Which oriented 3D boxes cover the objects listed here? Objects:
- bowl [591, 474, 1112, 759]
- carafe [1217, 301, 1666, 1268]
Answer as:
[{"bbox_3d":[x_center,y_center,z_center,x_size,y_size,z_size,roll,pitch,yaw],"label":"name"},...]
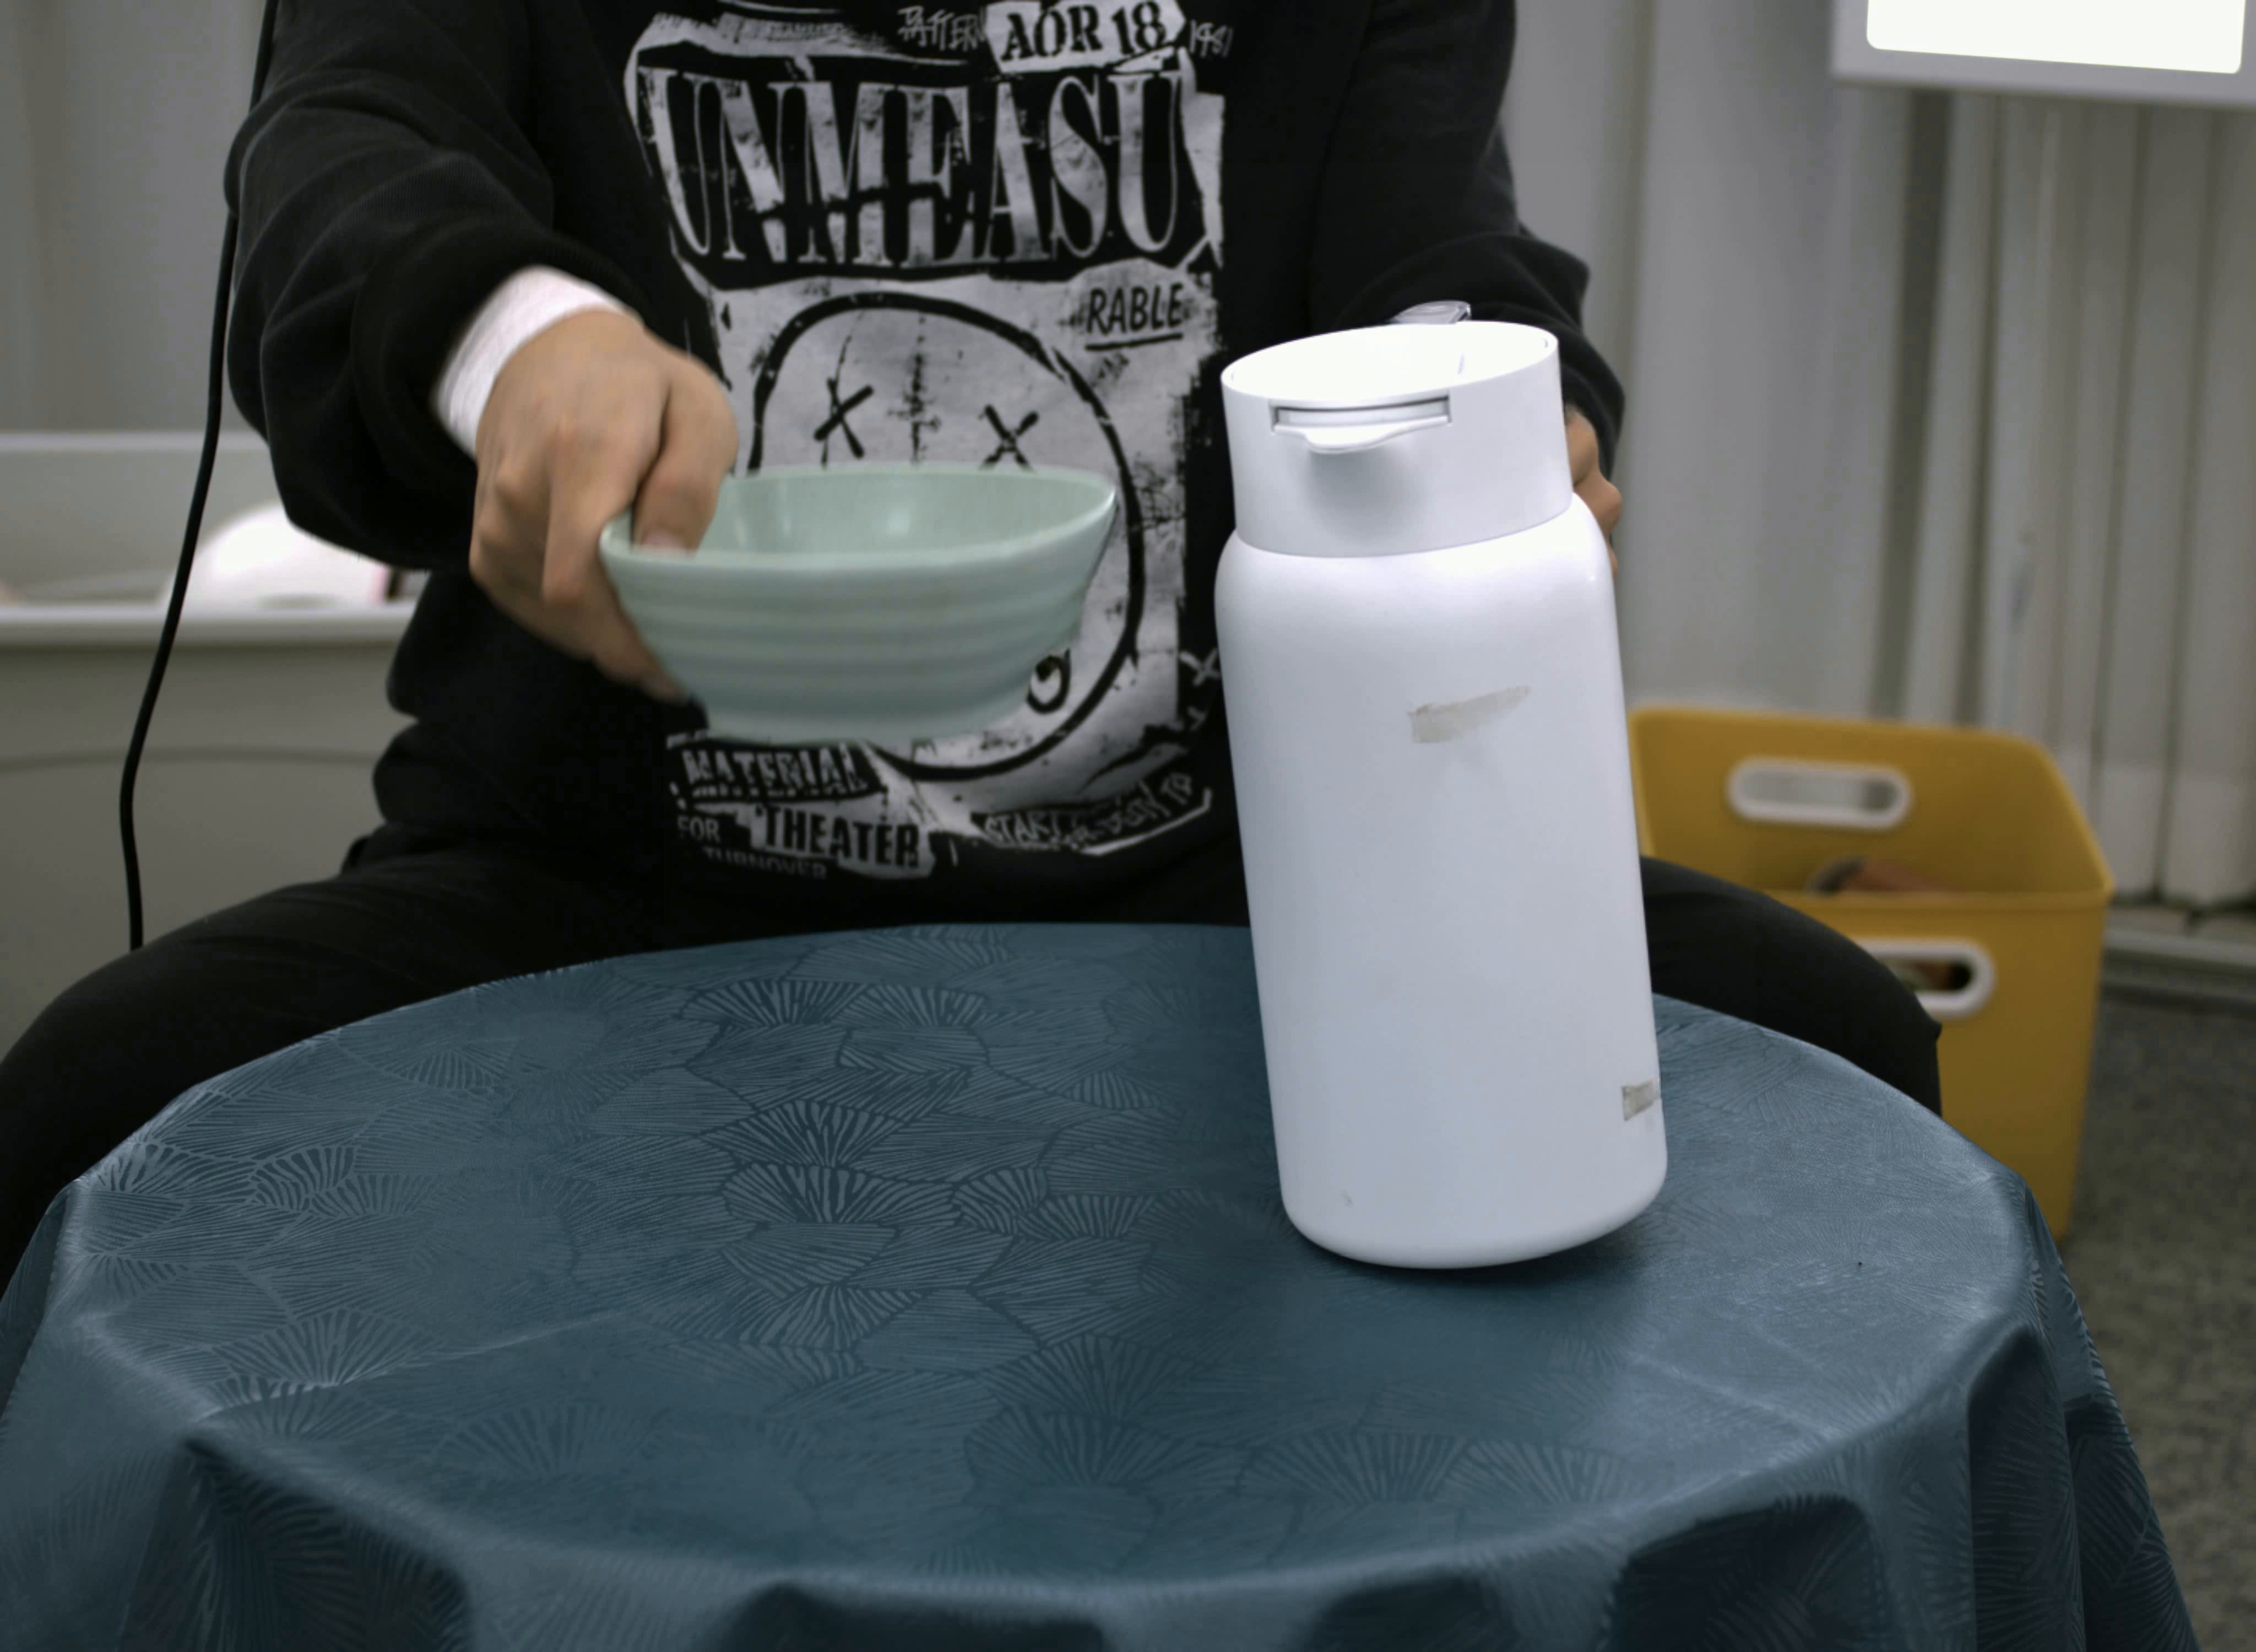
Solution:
[{"bbox_3d":[-0.075,-0.057,1.468,0.151,0.059,0.150,-2,15,1],"label":"bowl"},{"bbox_3d":[0.094,-0.016,1.571,0.123,0.271,0.172,-4,17,15],"label":"carafe"}]
